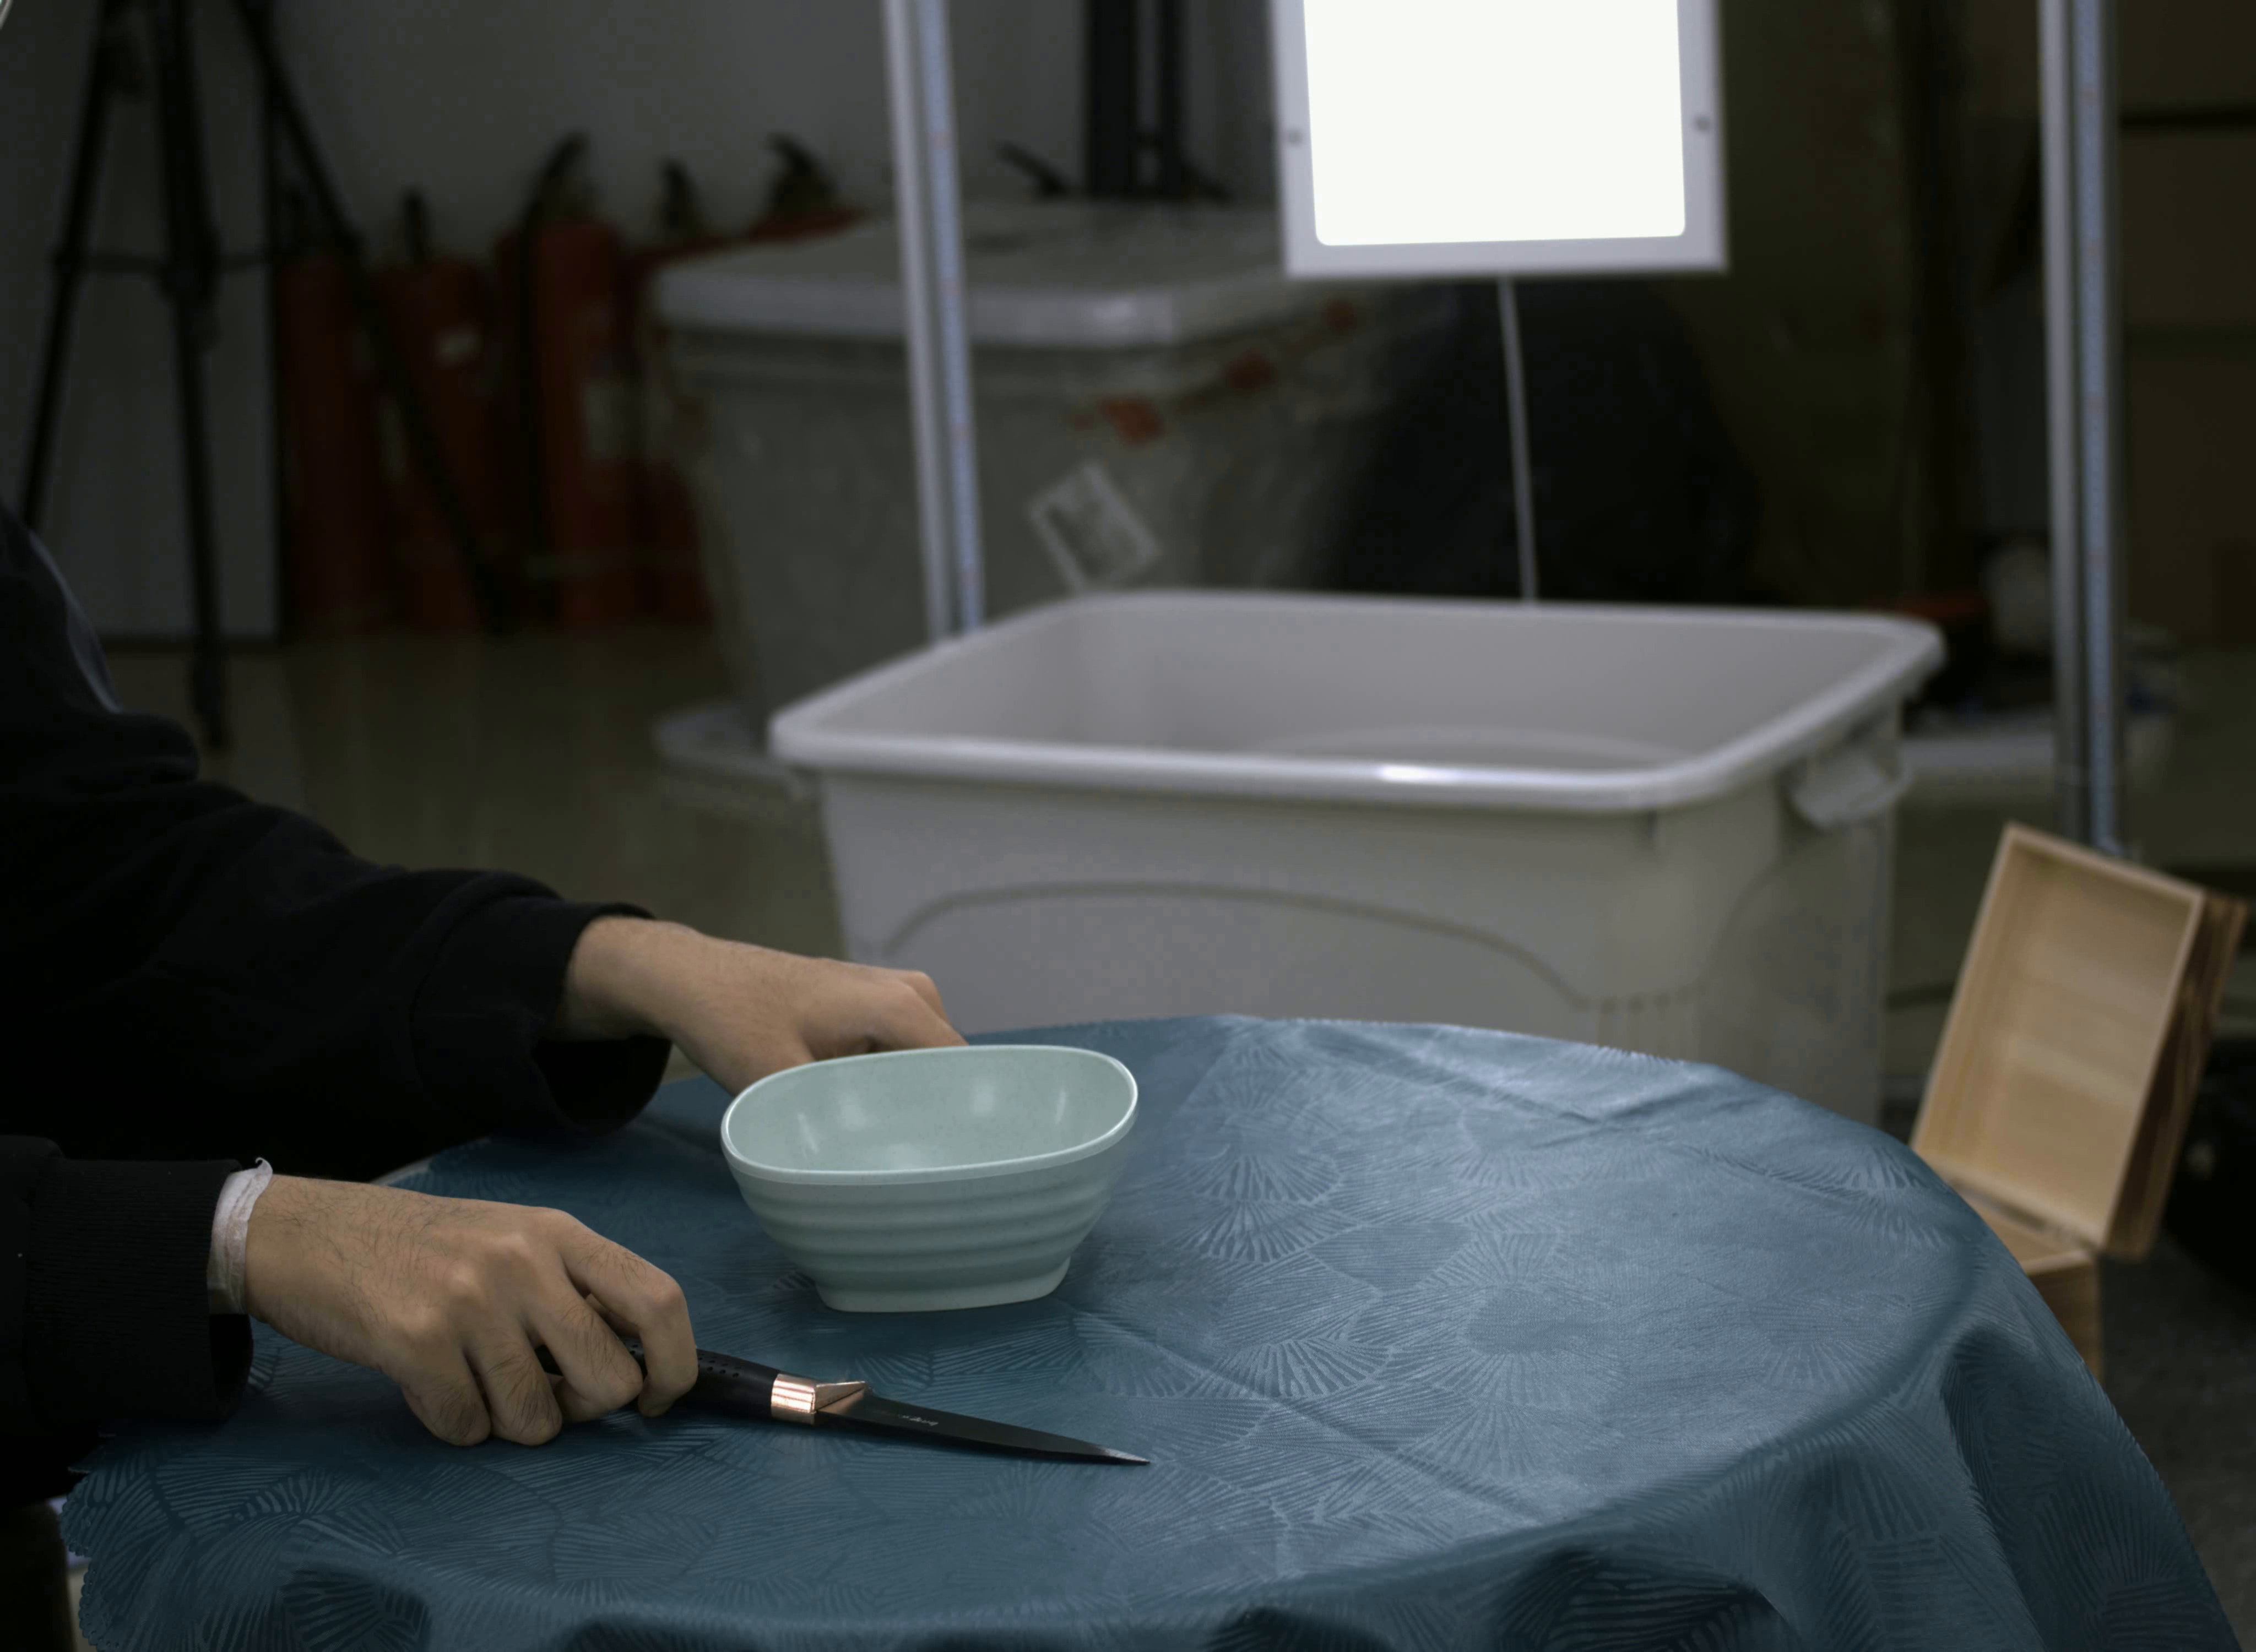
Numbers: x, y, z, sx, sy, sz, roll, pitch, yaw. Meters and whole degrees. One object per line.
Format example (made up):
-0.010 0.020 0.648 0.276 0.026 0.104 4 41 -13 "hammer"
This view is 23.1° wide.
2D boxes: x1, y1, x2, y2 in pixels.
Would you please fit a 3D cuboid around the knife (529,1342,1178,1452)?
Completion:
-0.087 0.178 1.698 0.229 0.017 0.025 5 10 30 "knife"

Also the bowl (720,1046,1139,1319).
-0.064 0.122 1.826 0.151 0.059 0.151 -5 15 0 "bowl"
